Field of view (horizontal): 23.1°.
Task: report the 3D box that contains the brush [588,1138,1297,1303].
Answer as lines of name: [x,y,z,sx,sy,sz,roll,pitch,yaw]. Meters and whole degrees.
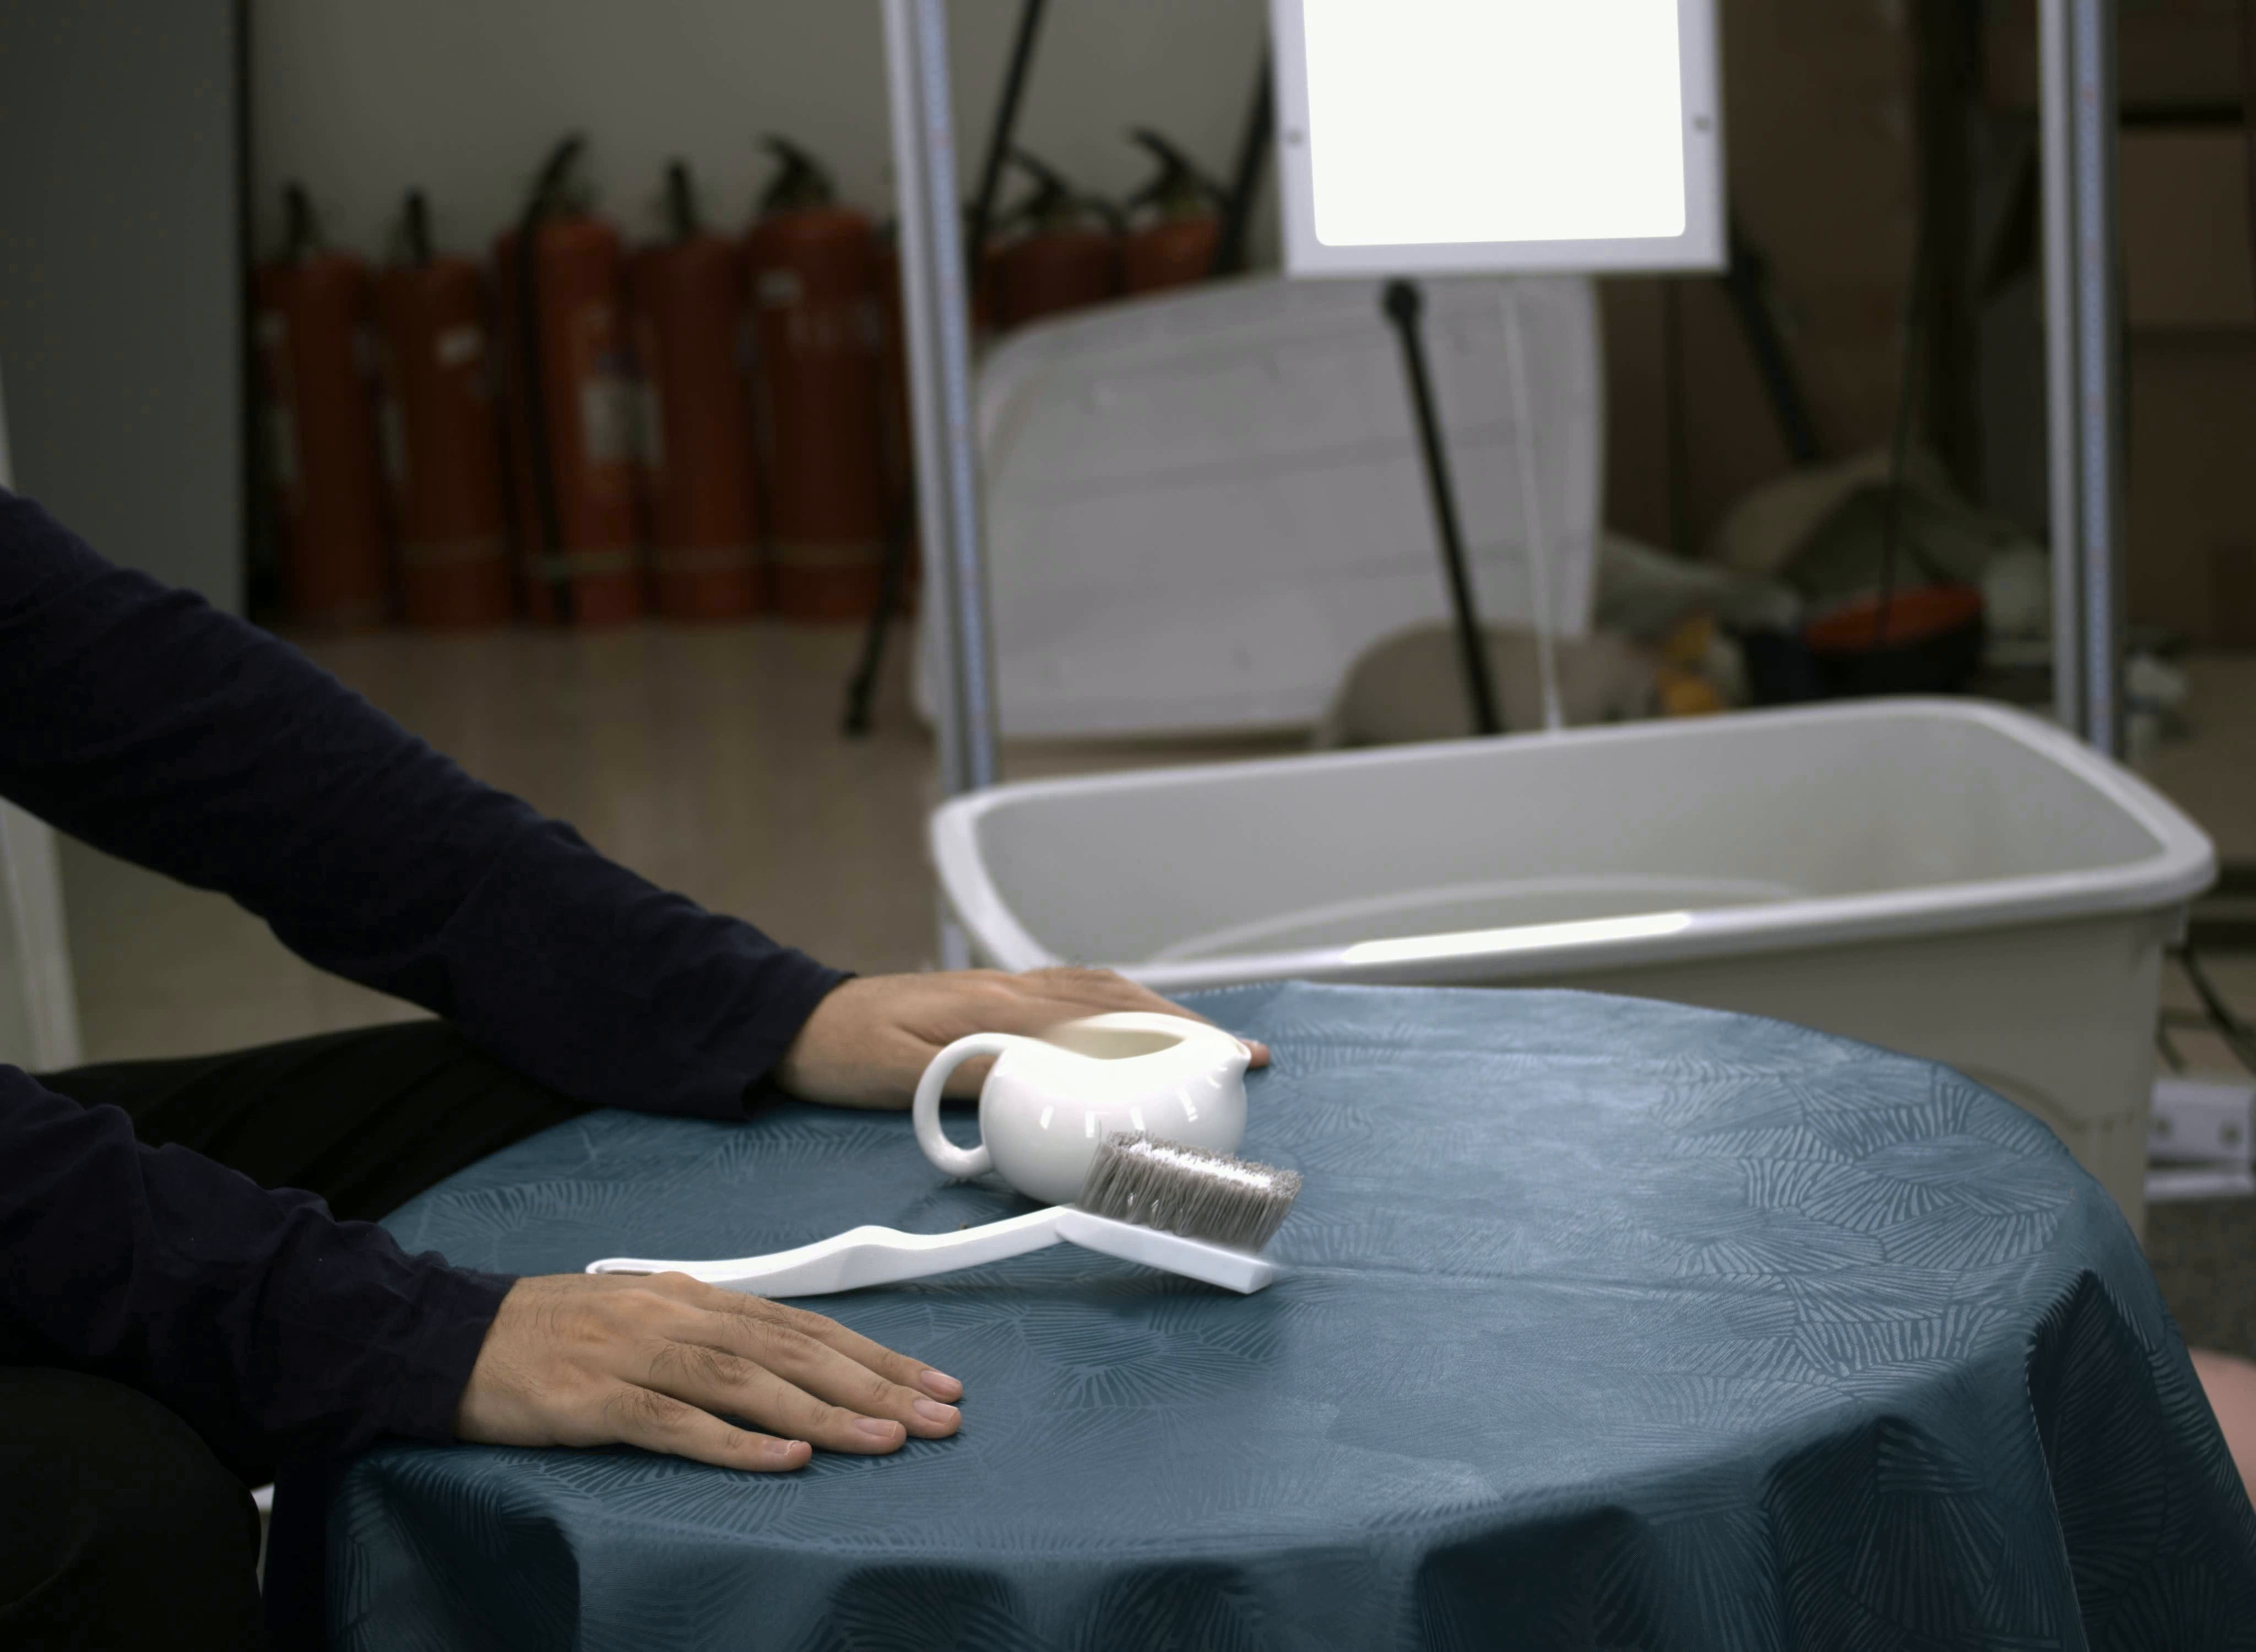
brush: [-0.064,0.129,1.814,0.246,0.050,0.034,-1,18,17]

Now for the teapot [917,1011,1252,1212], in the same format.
teapot: [-0.015,0.100,1.904,0.129,0.057,0.092,-2,18,19]
